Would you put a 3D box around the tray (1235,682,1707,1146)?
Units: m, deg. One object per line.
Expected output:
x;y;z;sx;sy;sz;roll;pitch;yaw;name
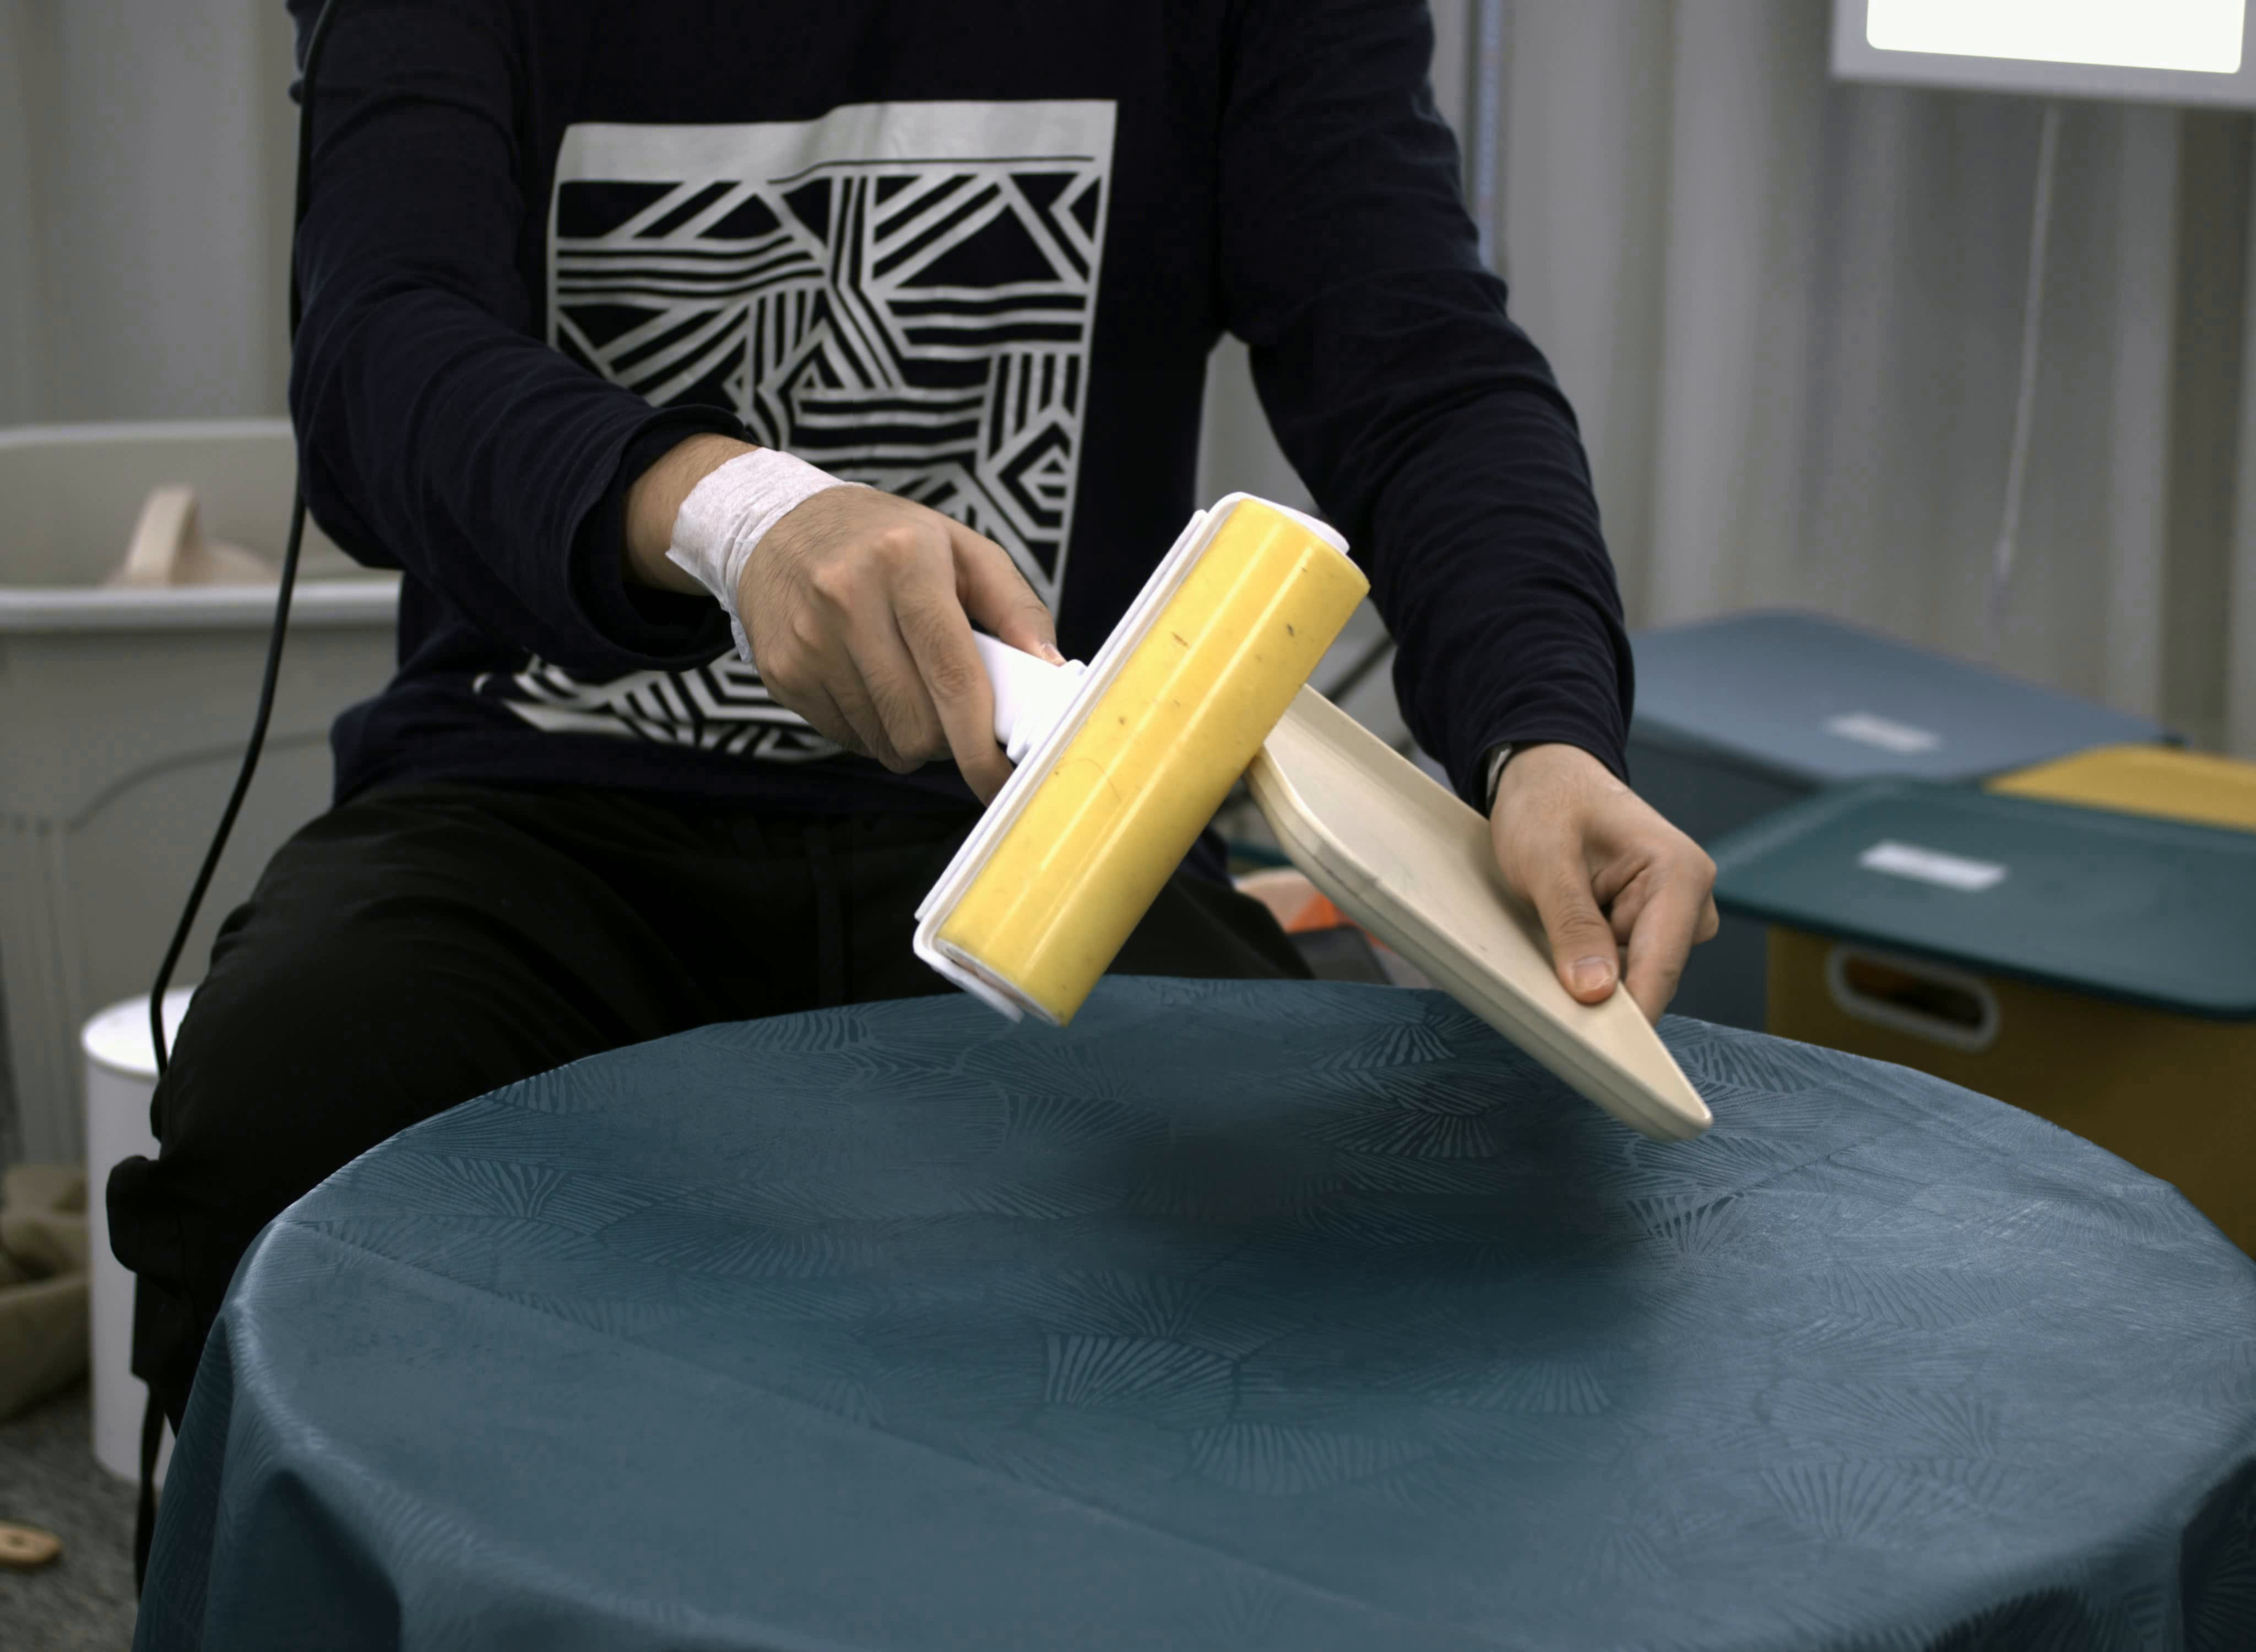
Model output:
0.090;0.013;1.626;0.173;0.017;0.237;38;10;-21;tray

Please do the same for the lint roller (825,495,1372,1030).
-0.038;-0.040;1.594;0.189;0.174;0.052;26;-12;42;lint roller
